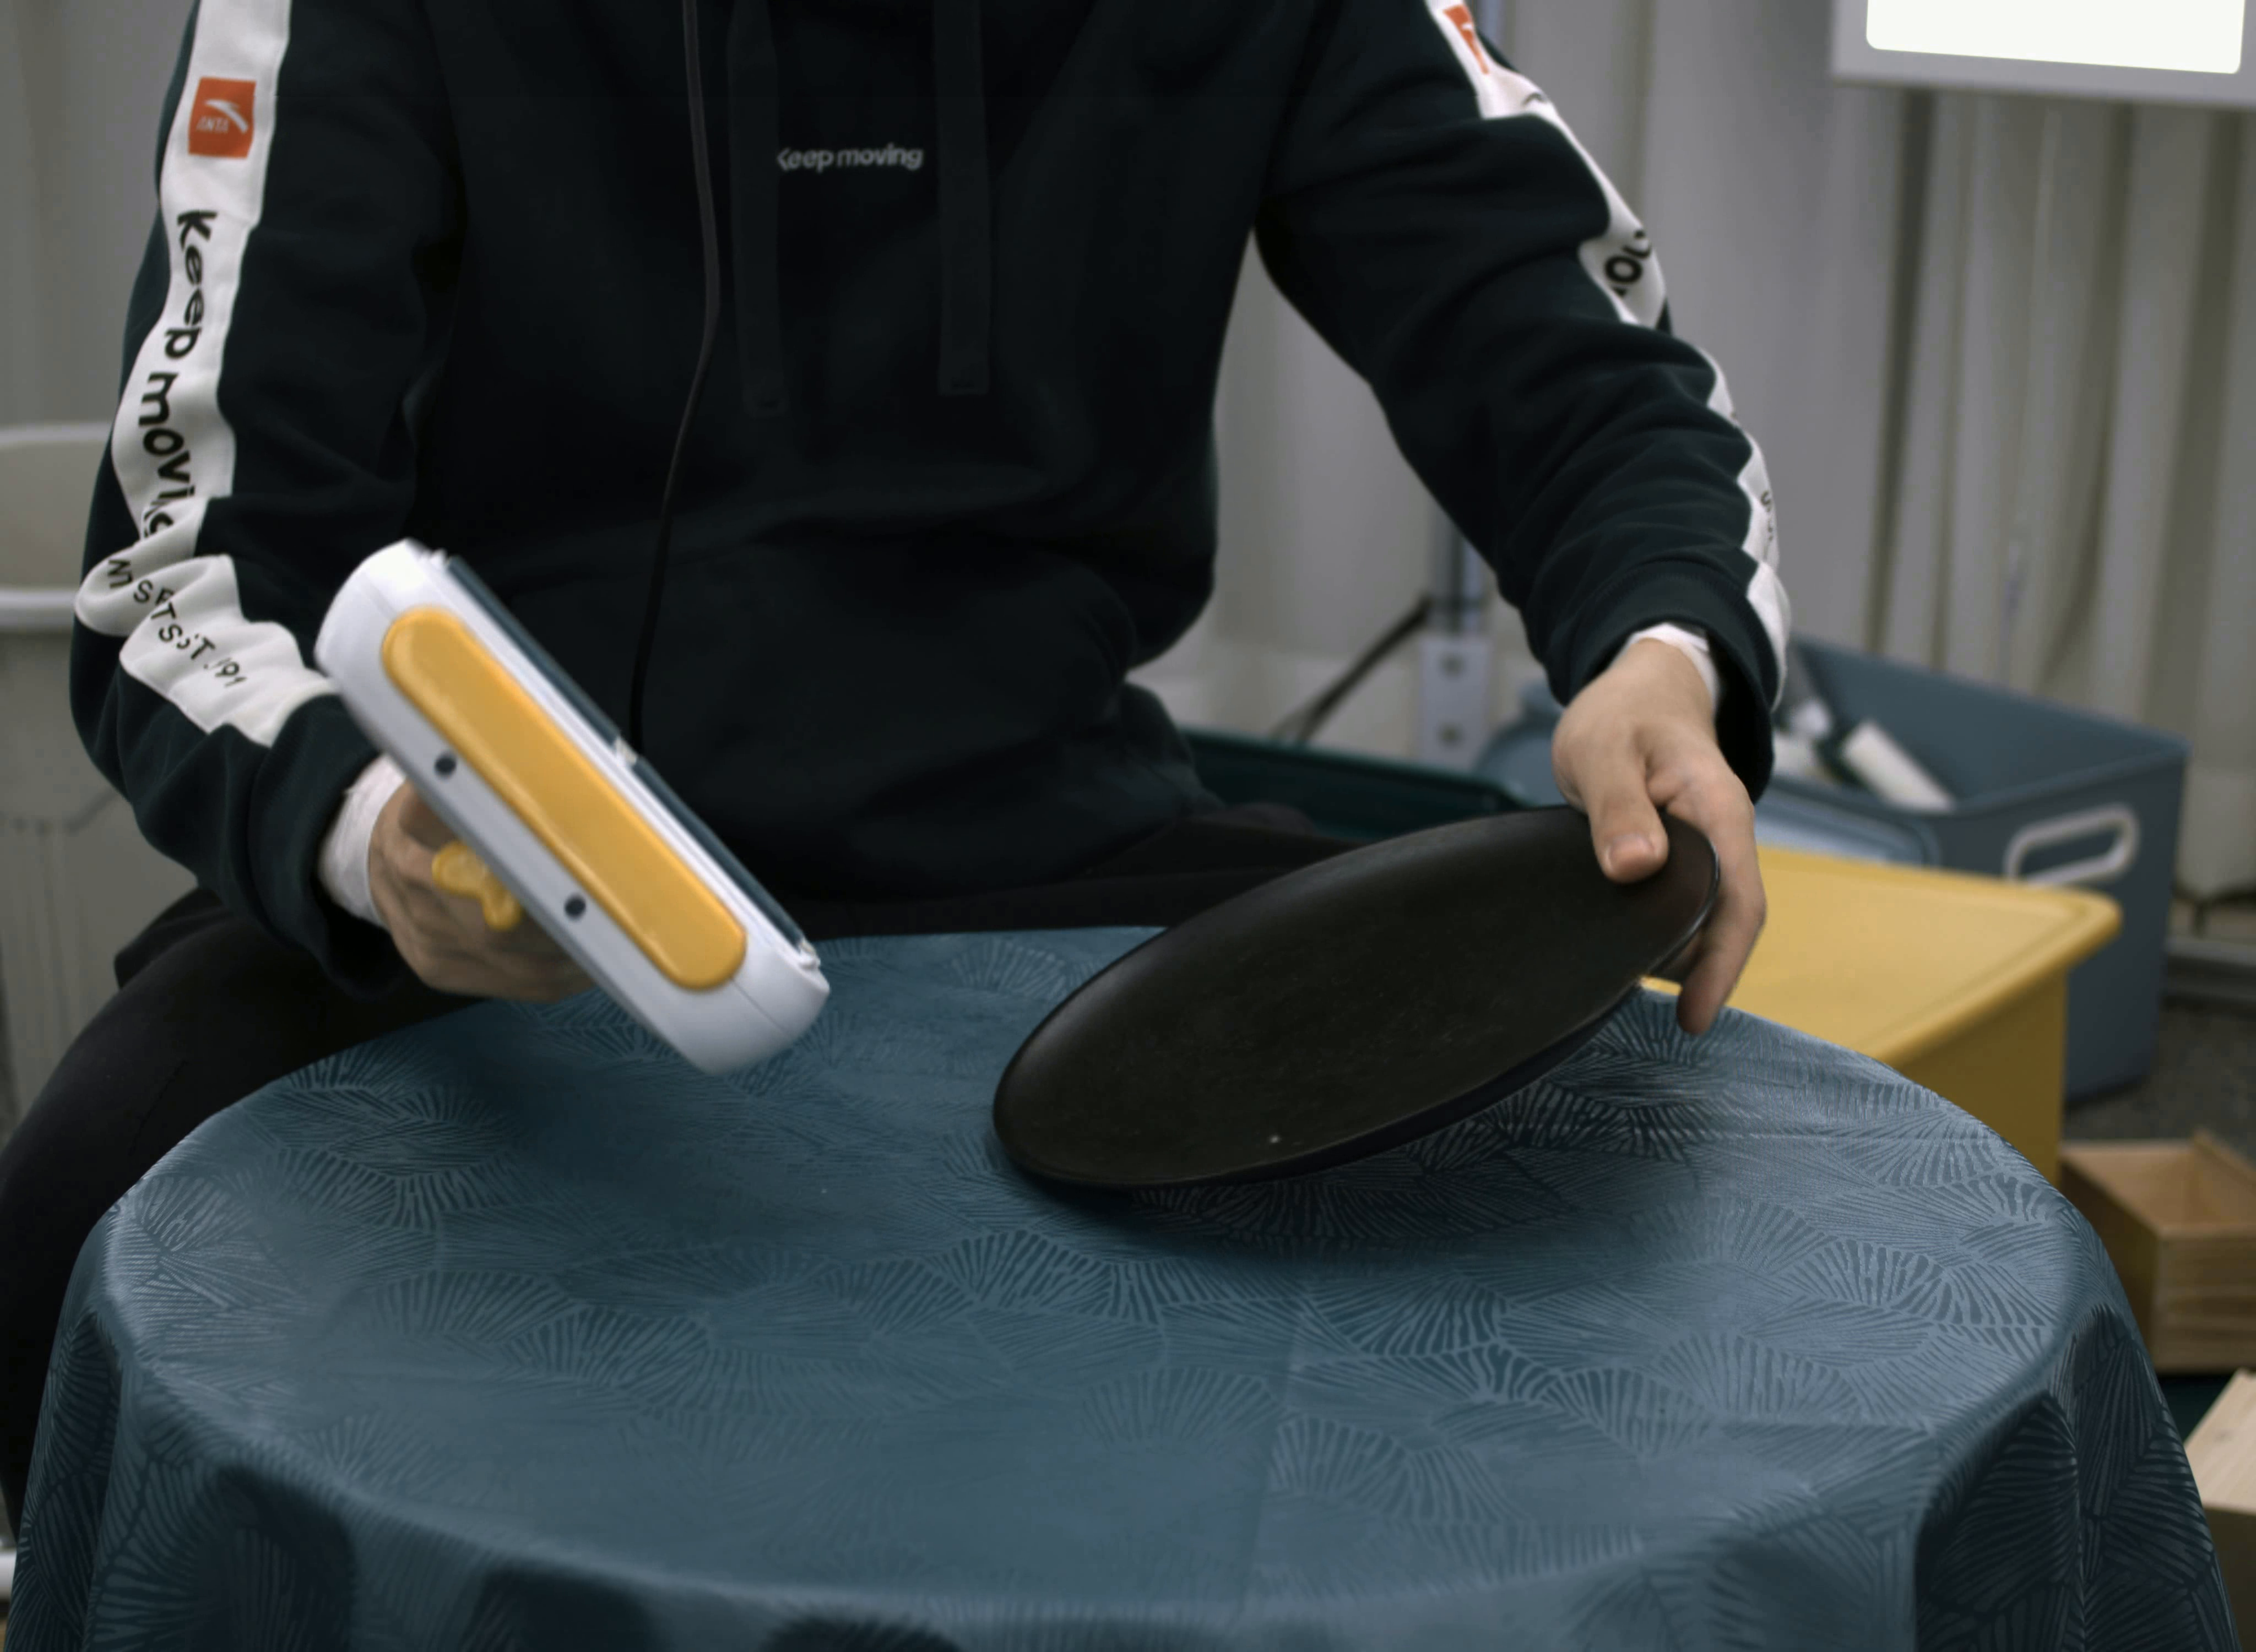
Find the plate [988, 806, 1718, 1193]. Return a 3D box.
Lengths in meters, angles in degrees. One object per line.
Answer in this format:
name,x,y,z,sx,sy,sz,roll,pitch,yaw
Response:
plate,0.073,0.059,1.656,0.243,0.023,0.243,-19,19,7

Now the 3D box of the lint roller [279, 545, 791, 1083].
lint roller,-0.189,0.021,1.622,0.074,0.192,0.193,-45,-8,-20
